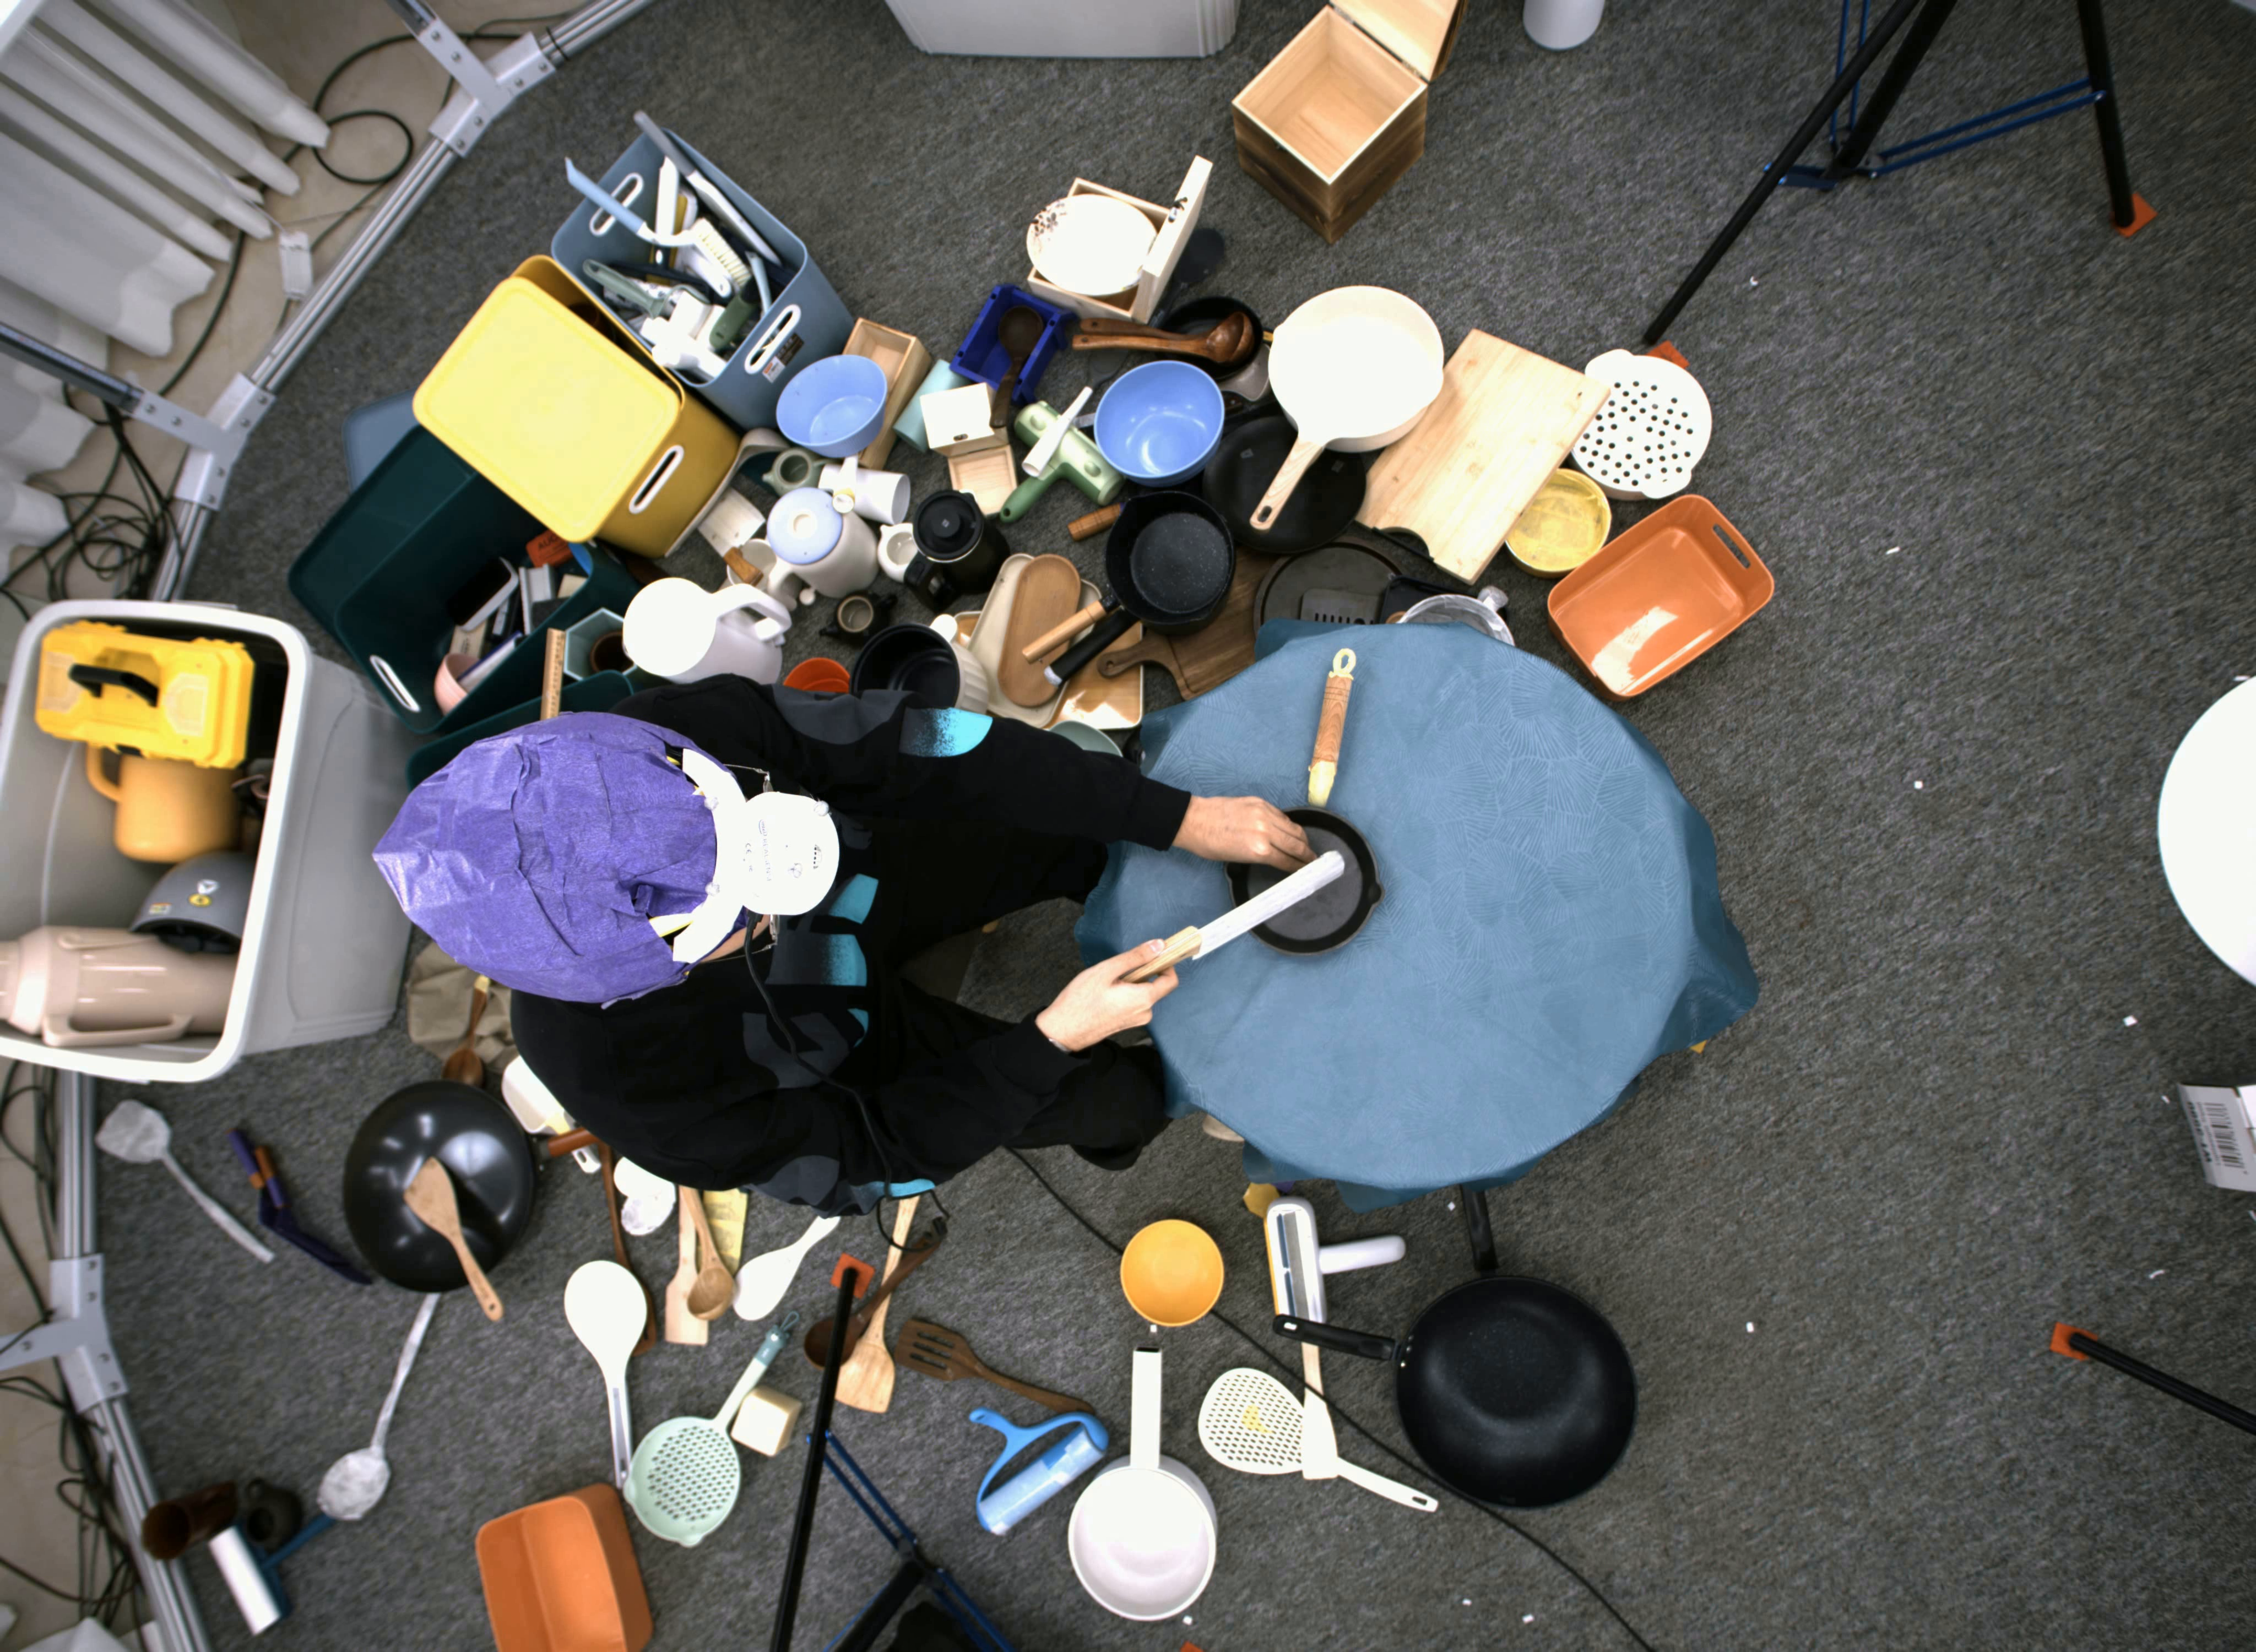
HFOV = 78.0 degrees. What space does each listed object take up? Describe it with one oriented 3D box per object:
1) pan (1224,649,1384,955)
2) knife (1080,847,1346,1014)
[{"bbox_3d":[0.200,-0.026,1.453,0.169,0.049,0.323,11,90,12],"label":"pan"},{"bbox_3d":[0.092,0.103,1.394,0.313,0.116,0.021,-28,69,-10],"label":"knife"}]
